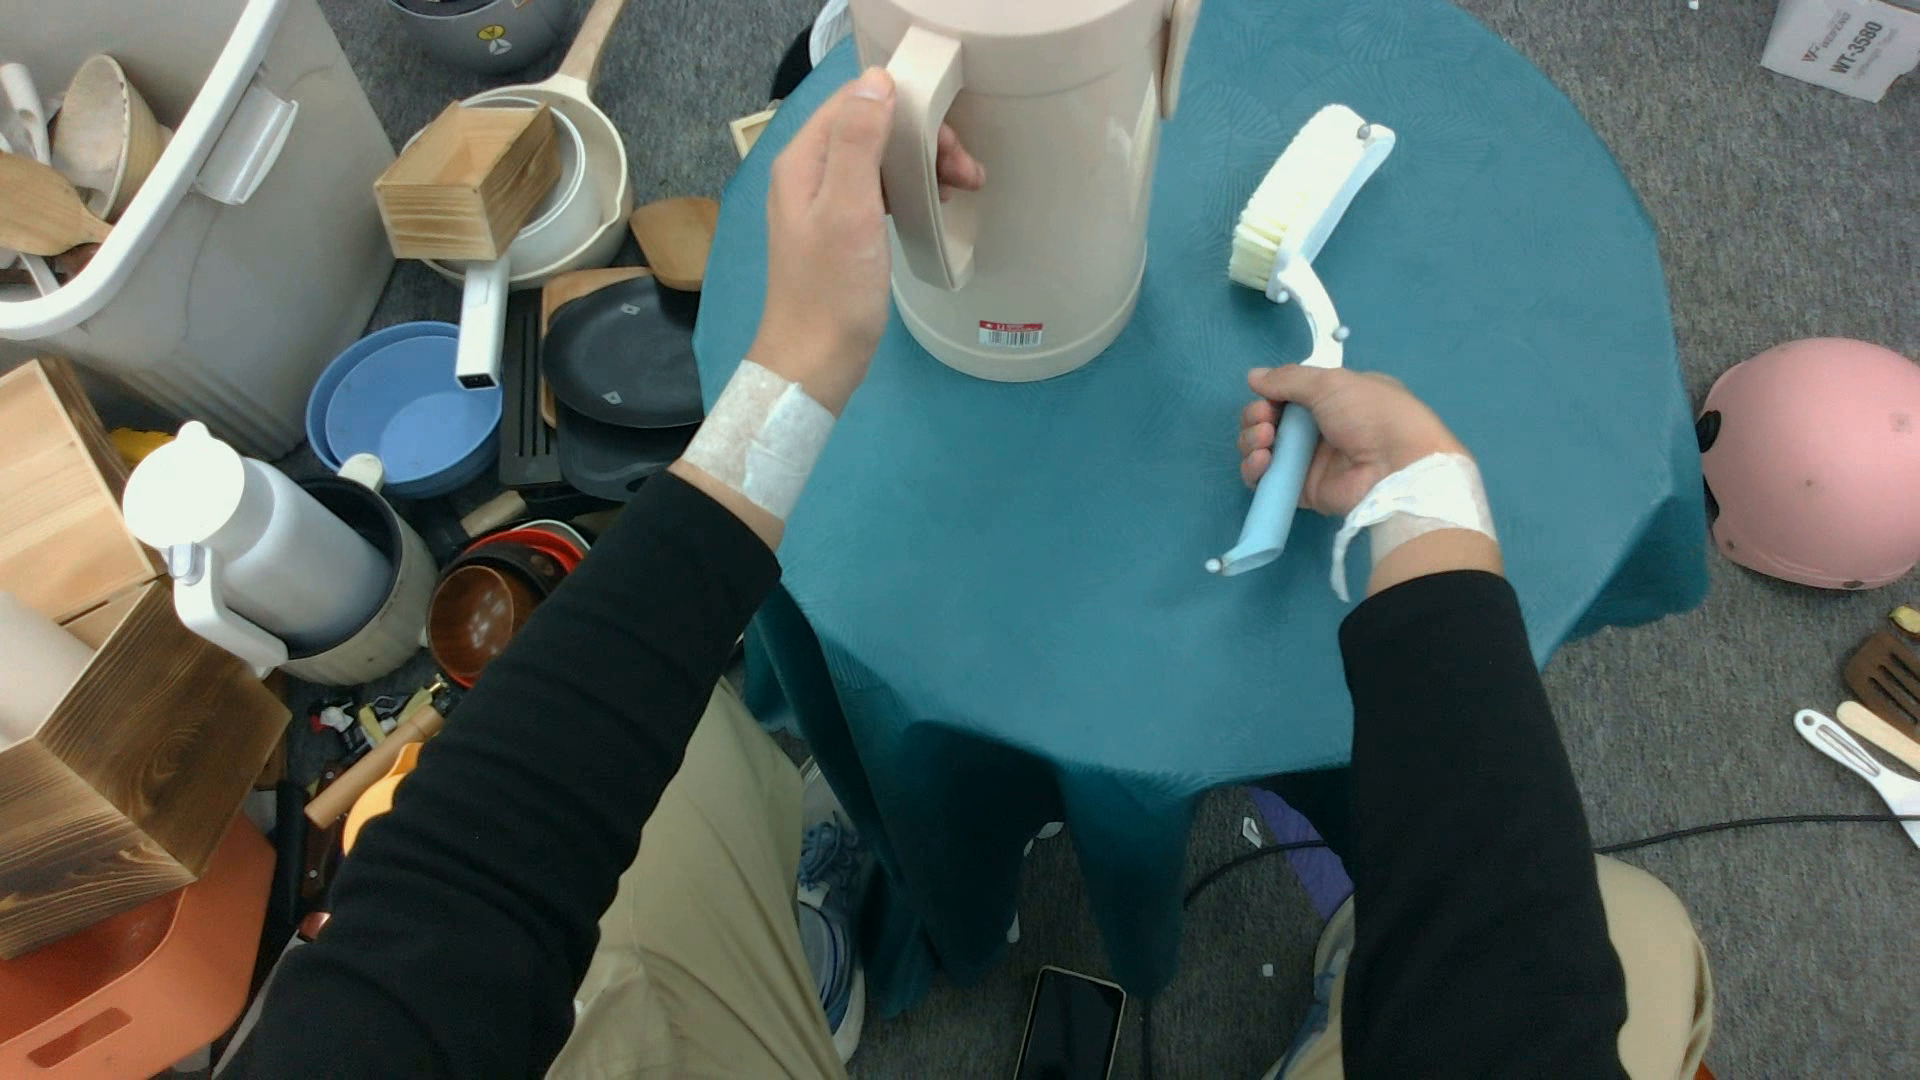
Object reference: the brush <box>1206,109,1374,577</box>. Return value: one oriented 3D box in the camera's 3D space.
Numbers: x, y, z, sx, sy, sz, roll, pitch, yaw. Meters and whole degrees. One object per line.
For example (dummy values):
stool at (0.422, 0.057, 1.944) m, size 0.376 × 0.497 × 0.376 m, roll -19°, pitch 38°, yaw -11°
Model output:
brush at (0.165, -0.130, 0.799) m, size 0.084 × 0.083 × 0.326 m, roll -3°, pitch 56°, yaw 45°

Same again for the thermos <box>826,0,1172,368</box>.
thermos at (0.007, -0.236, 0.680) m, size 0.175 × 0.405 × 0.208 m, roll 22°, pitch 71°, yaw 8°
